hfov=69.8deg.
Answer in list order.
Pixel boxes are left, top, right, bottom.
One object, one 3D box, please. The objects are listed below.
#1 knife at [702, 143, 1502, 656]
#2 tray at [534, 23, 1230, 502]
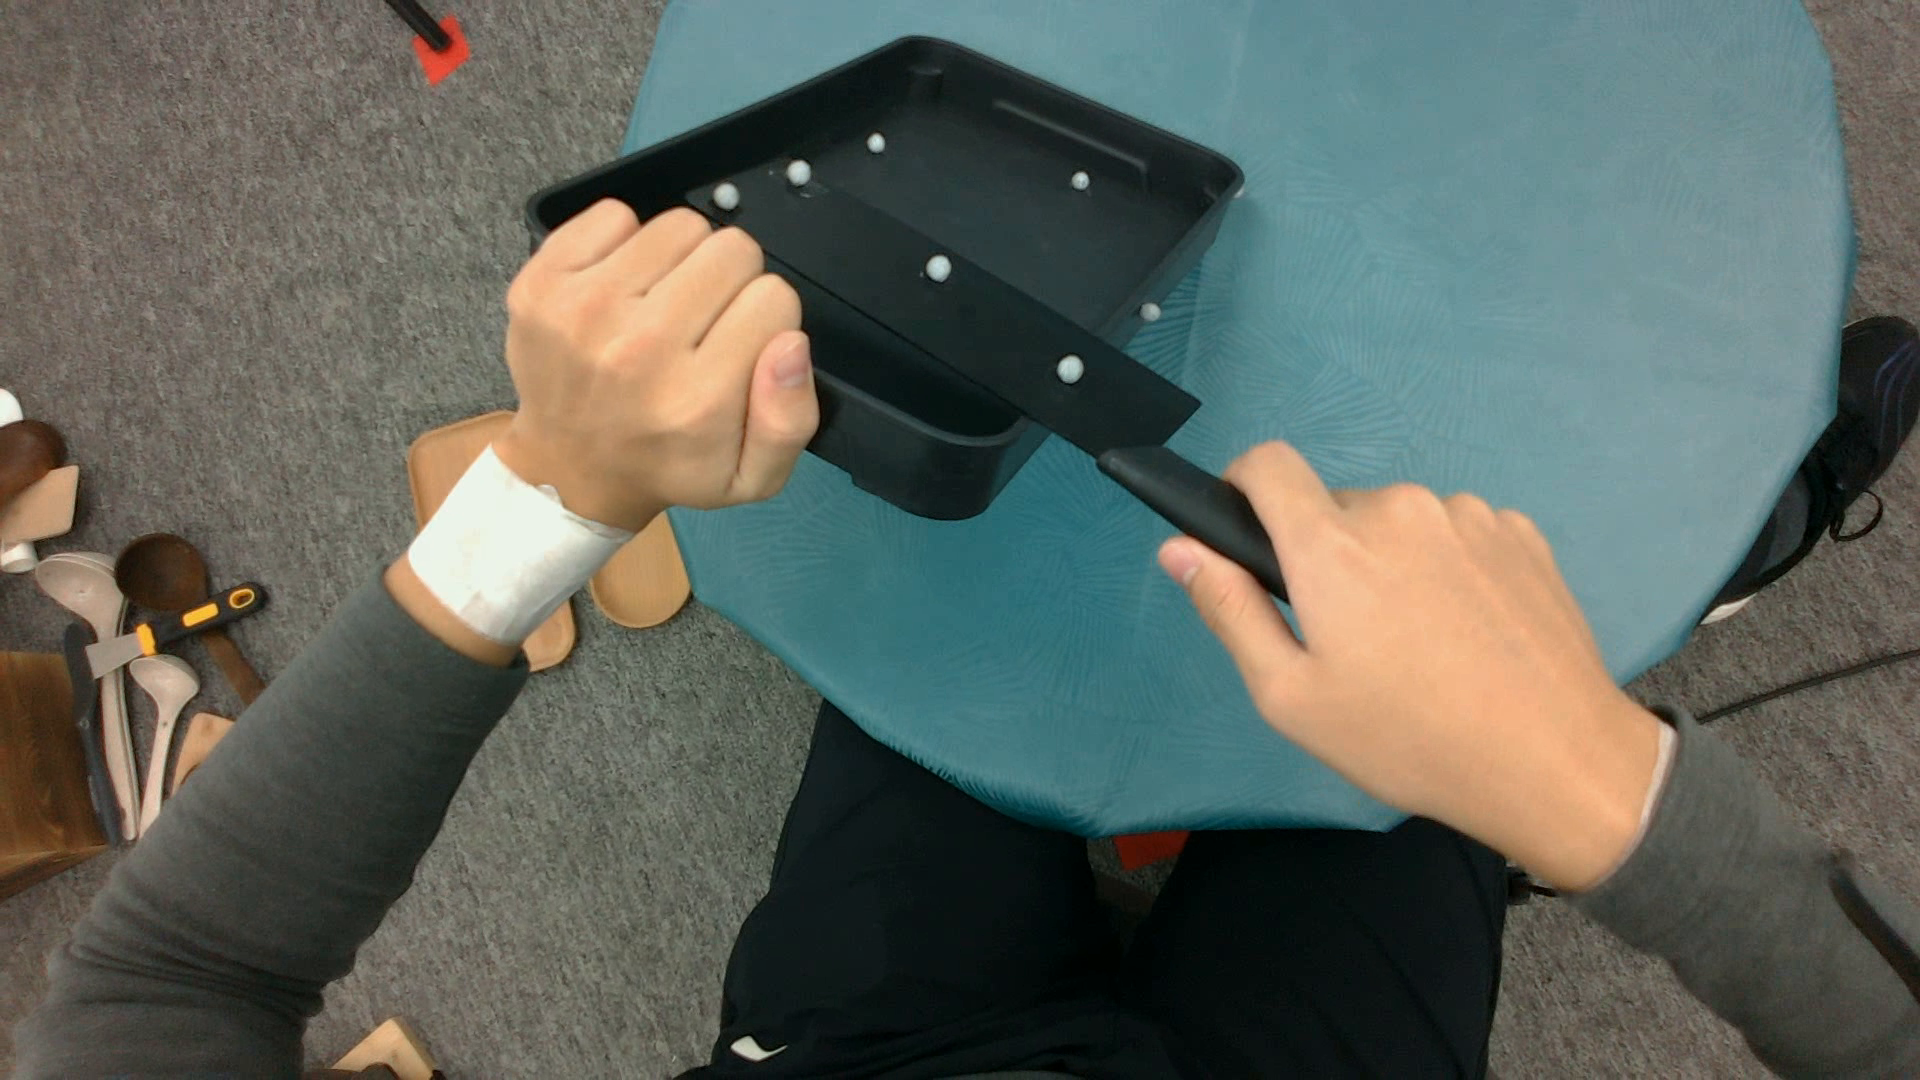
[{"bbox_3d":[0.044,-0.056,0.463,0.302,0.081,0.021,36,131,17],"label":"knife"},{"bbox_3d":[-0.010,-0.134,0.565,0.184,0.319,0.037,25,128,9],"label":"tray"}]
